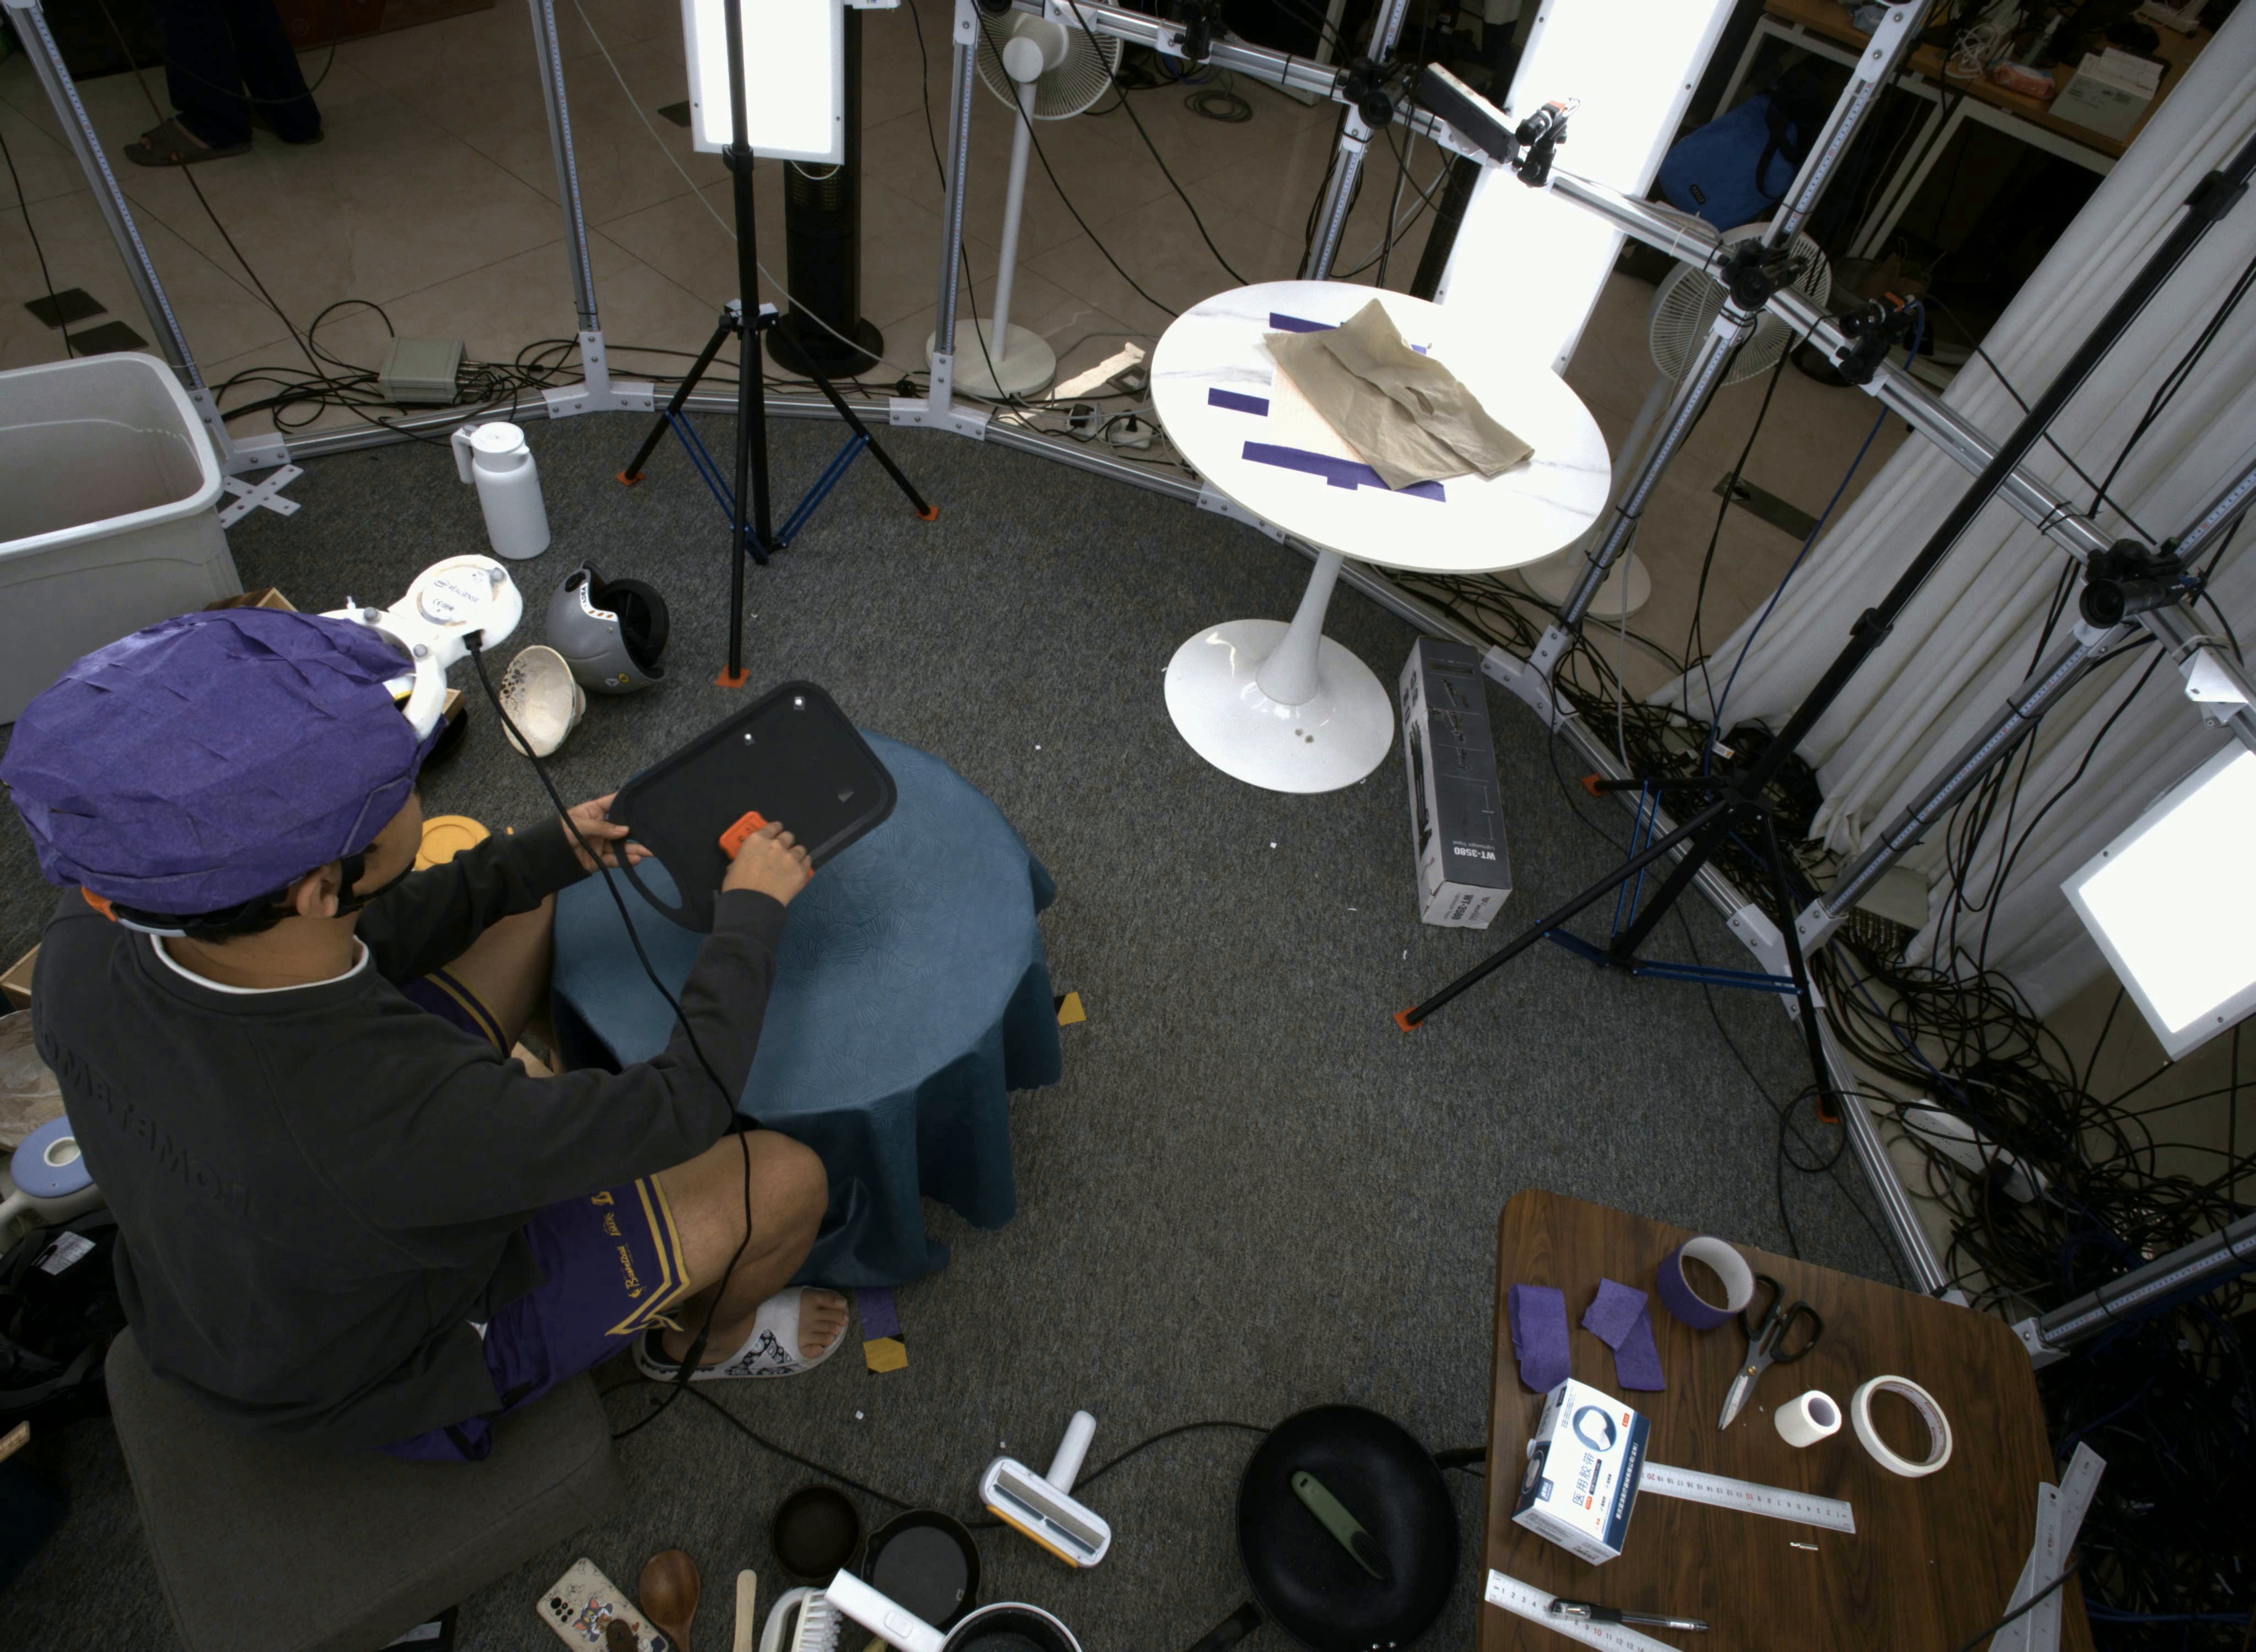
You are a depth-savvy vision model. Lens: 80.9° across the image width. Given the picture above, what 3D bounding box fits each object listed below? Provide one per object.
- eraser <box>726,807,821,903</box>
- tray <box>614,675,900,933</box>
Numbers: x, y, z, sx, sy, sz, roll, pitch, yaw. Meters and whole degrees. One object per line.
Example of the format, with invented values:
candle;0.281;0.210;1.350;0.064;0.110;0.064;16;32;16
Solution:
eraser;-0.414;0.032;1.510;0.109;0.023;0.059;46;65;-5
tray;-0.441;-0.027;1.527;0.325;0.010;0.213;-38;94;-25
